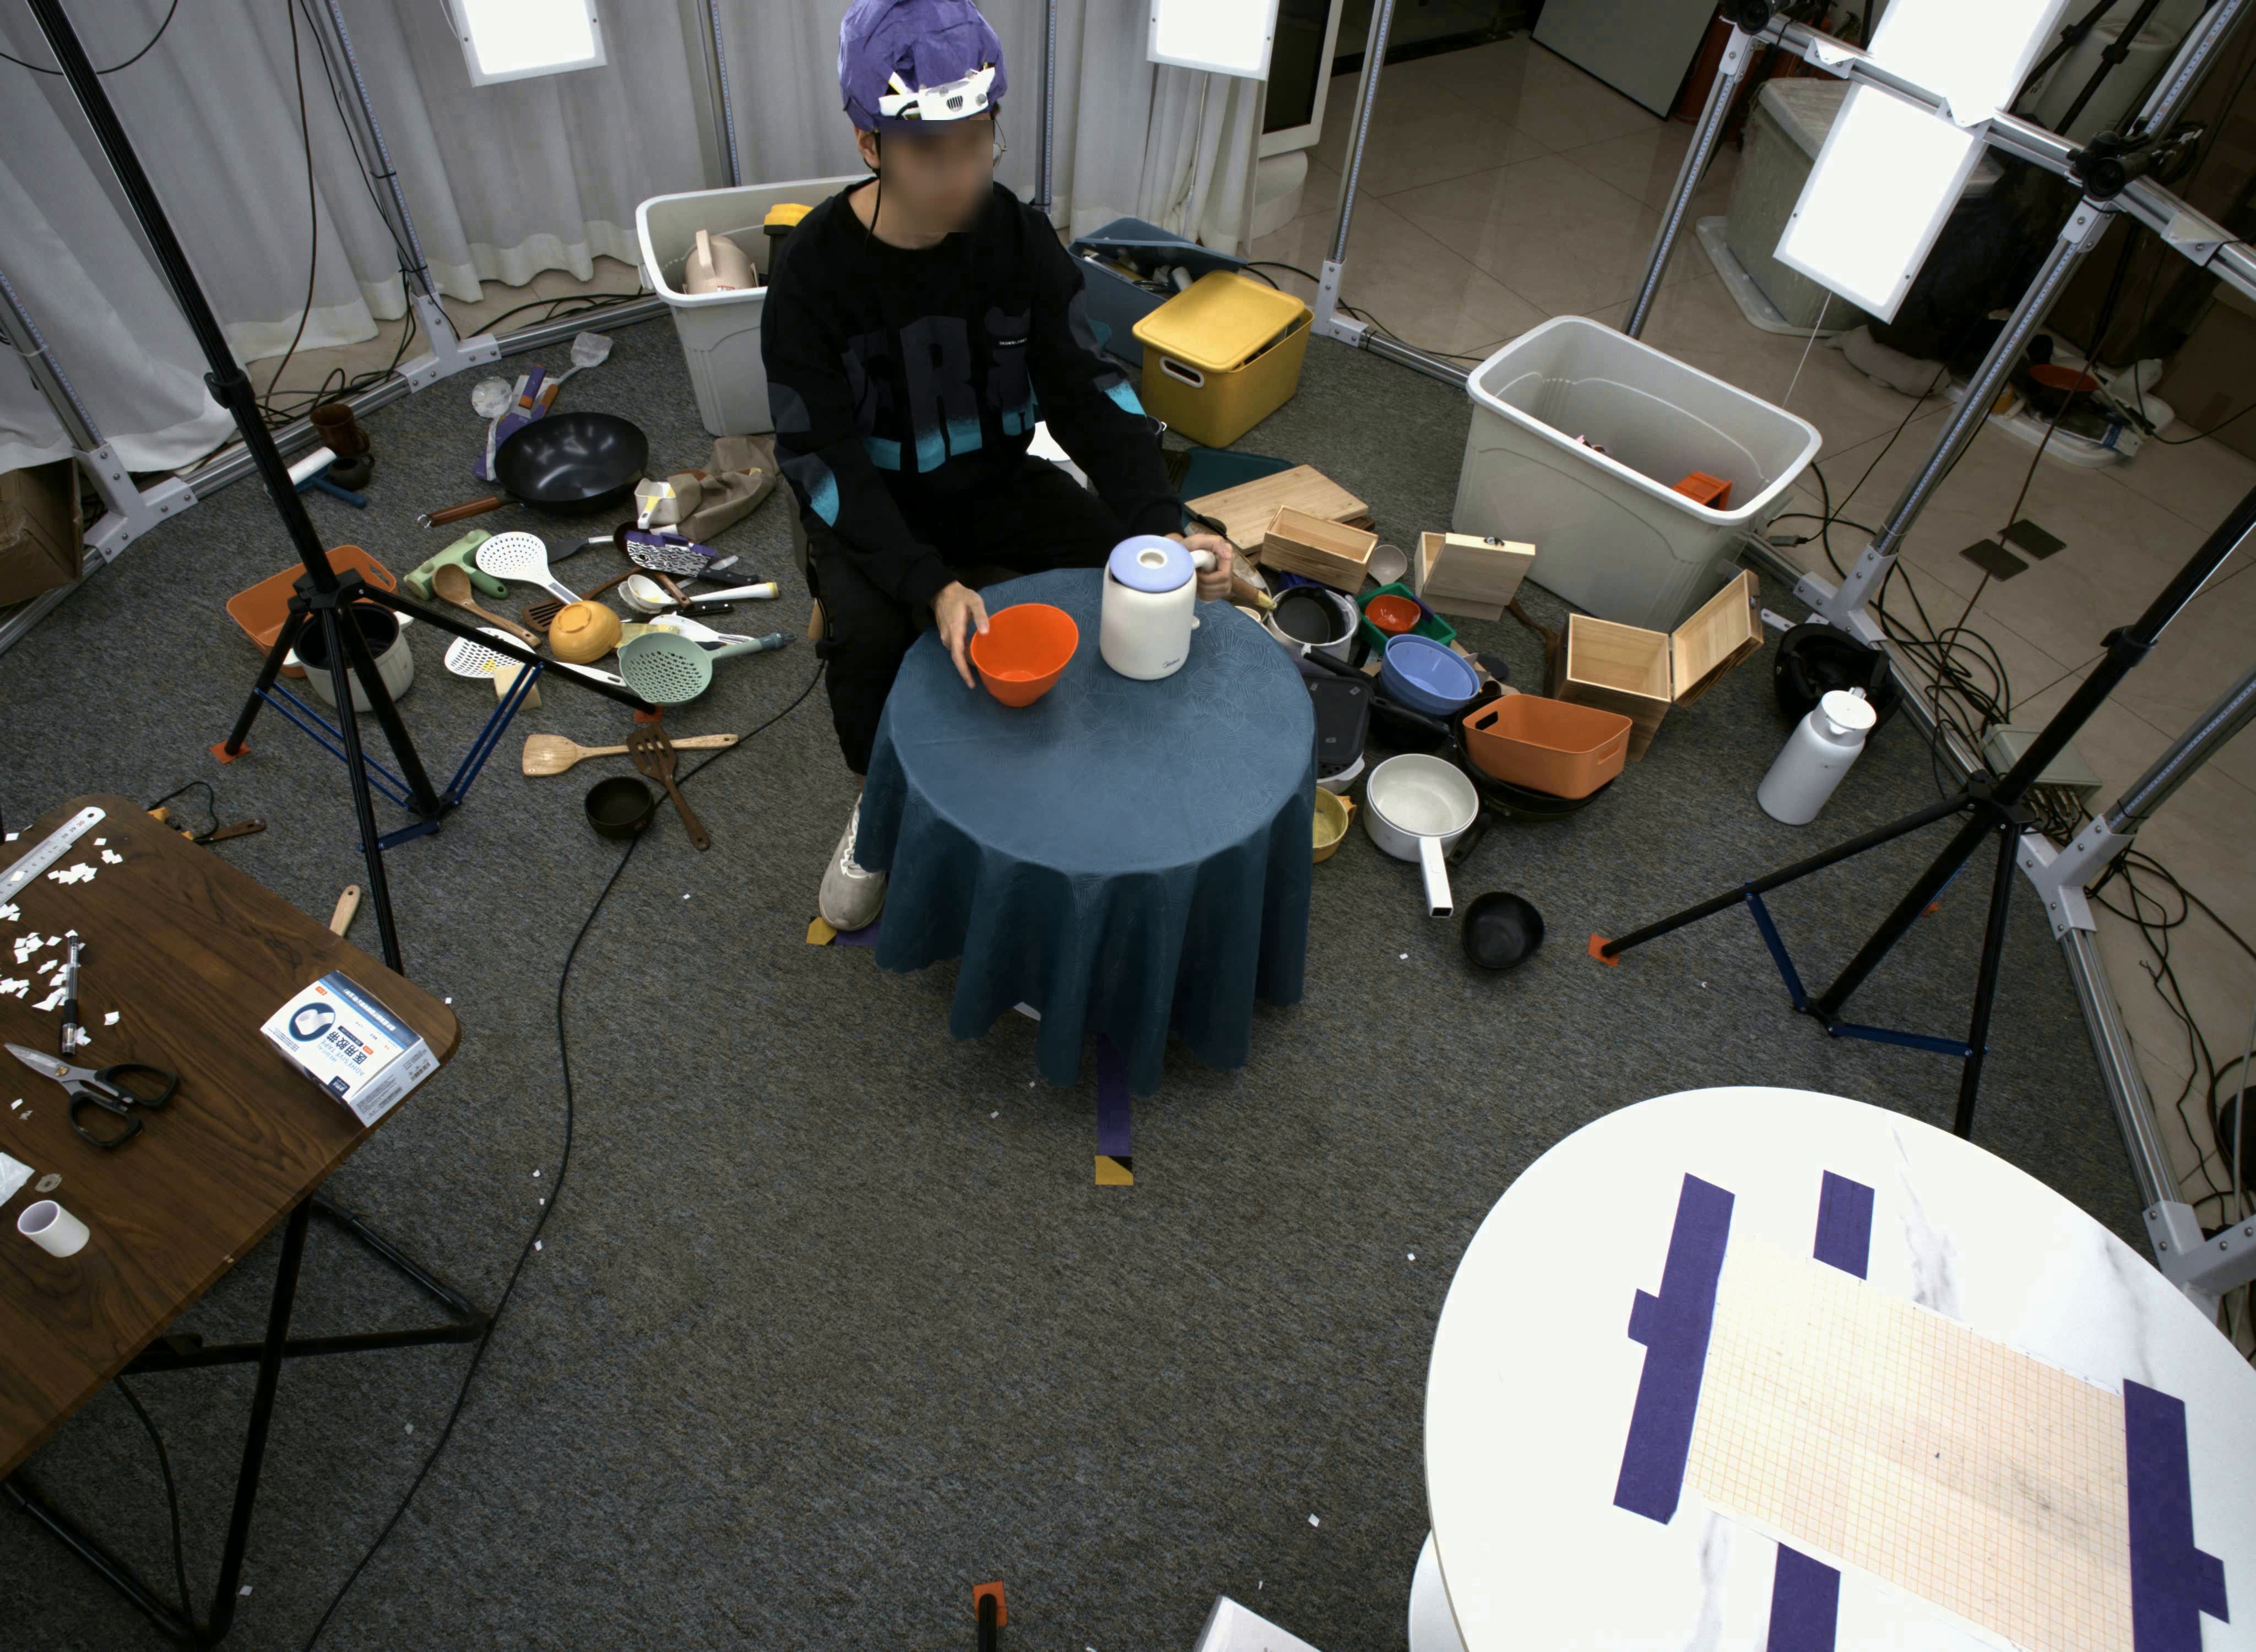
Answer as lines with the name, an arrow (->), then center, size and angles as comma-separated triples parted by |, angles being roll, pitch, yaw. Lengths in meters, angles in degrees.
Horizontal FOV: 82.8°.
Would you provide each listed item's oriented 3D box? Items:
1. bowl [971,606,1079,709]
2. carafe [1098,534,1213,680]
bowl -> -0.143, -0.224, 1.789 | 0.148, 0.102, 0.152 | 2, 49, -2
carafe -> 0.046, -0.321, 1.840 | 0.192, 0.178, 0.134 | -26, 57, -27
